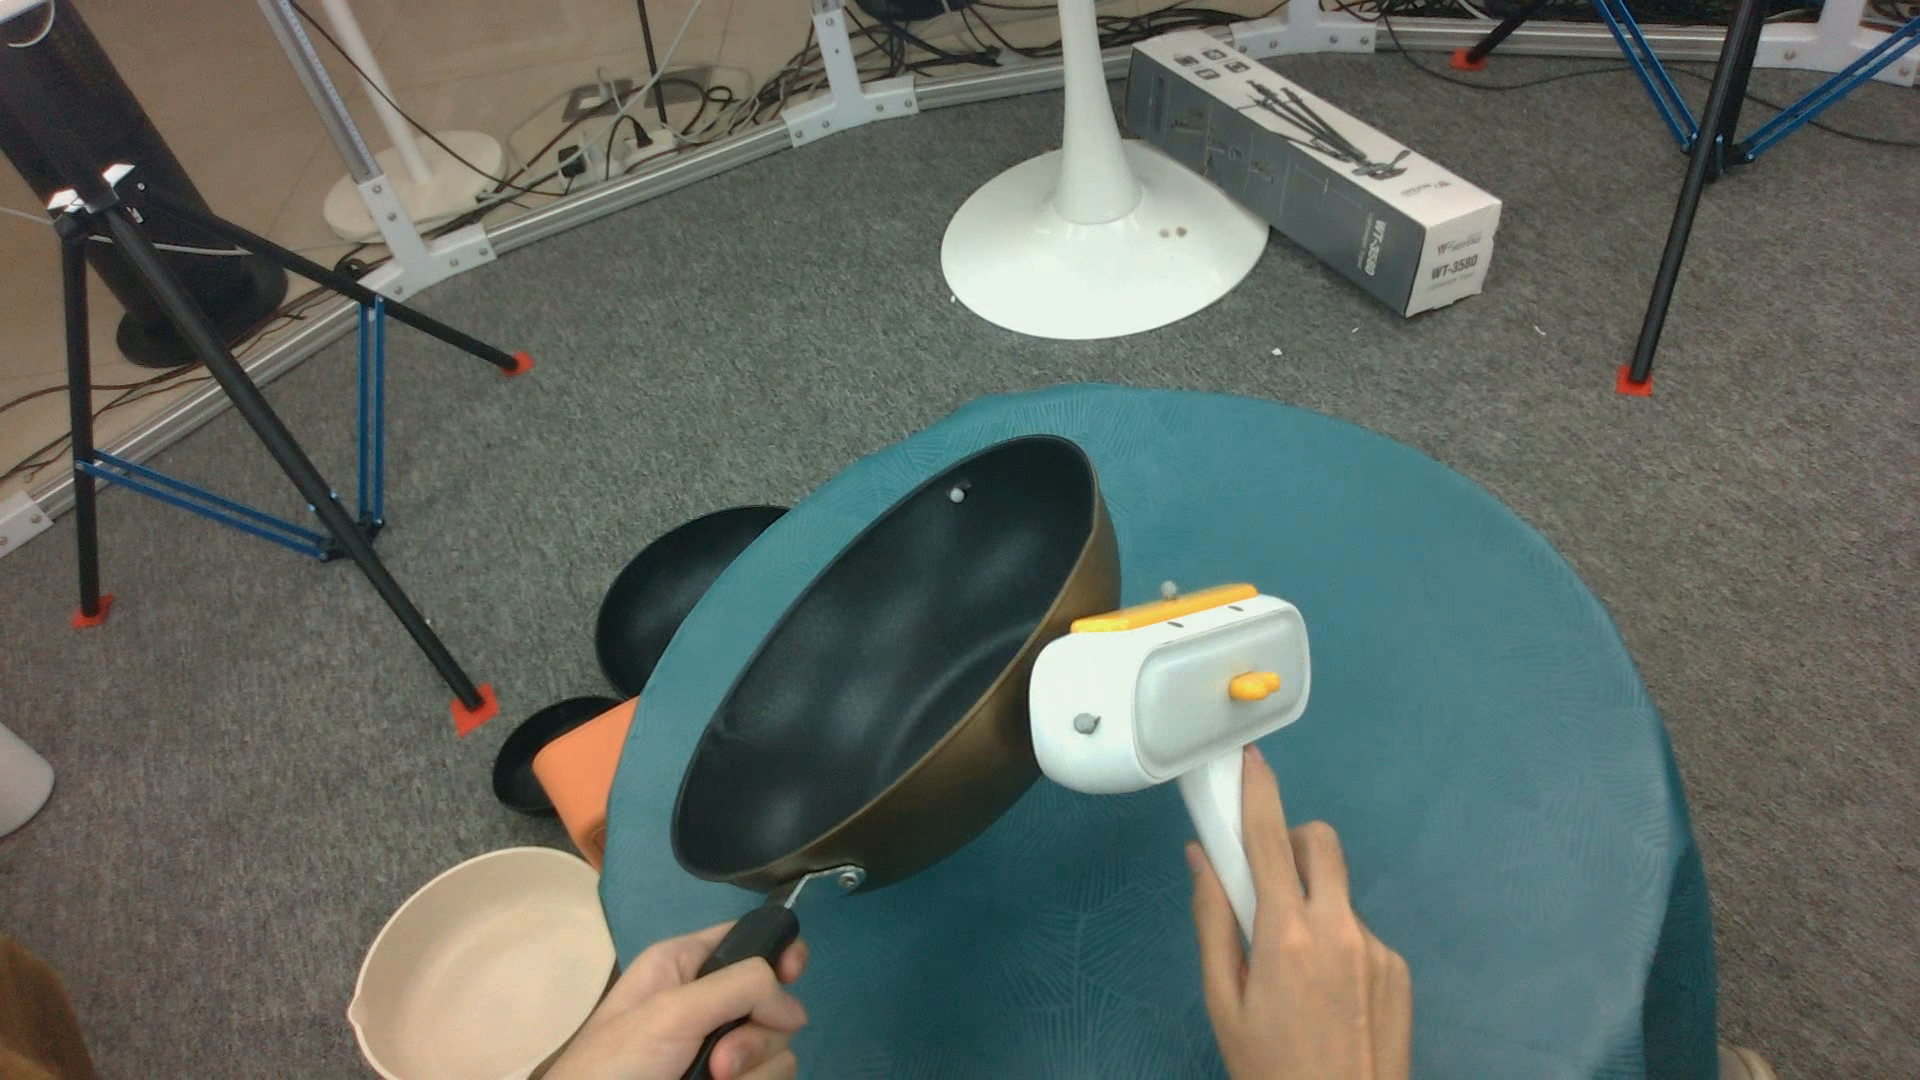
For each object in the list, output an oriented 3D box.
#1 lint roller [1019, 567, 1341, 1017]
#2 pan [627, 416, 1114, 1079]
[{"bbox_3d":[0.113,0.114,0.603,0.074,0.192,0.193,-15,-1,33],"label":"lint roller"},{"bbox_3d":[-0.048,0.126,0.628,0.287,0.087,0.466,-28,27,37],"label":"pan"}]
